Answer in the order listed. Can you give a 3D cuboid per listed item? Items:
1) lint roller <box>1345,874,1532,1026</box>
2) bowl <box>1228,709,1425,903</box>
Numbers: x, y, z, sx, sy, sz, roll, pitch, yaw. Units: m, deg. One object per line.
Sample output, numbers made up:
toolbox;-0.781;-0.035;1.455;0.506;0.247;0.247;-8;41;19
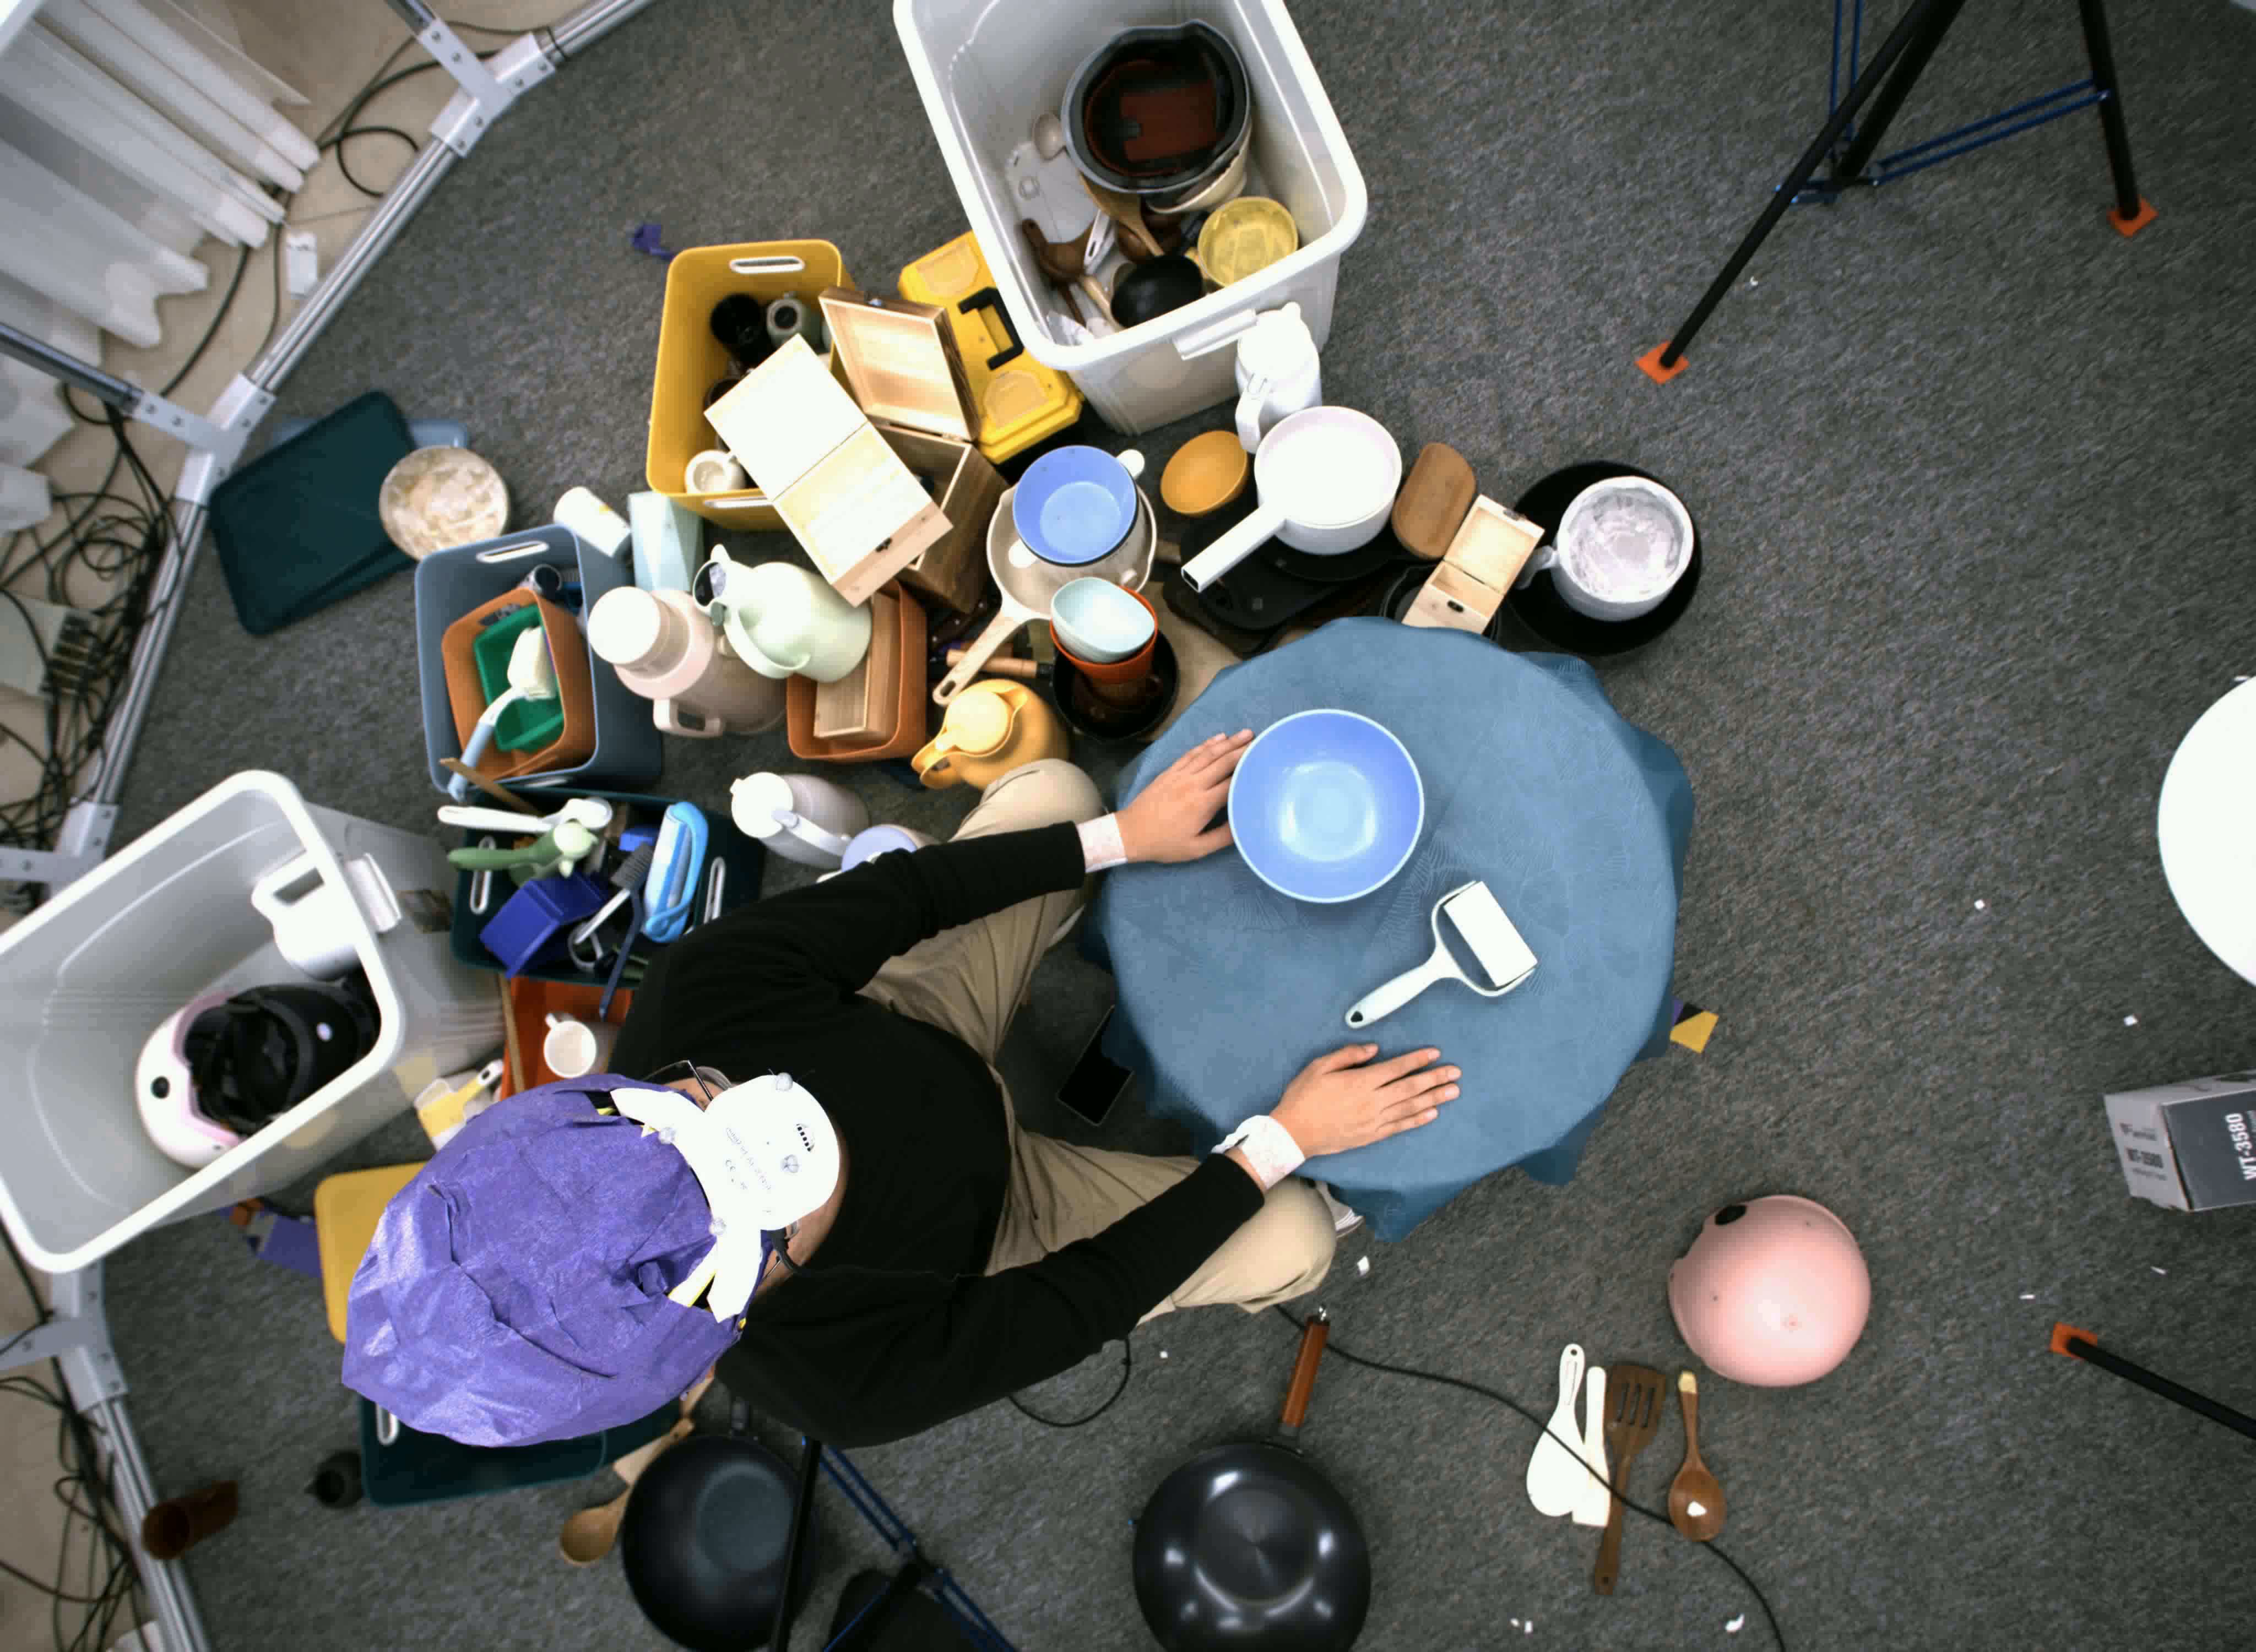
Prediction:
lint roller;0.306;0.143;1.427;0.199;0.048;0.116;-34;83;8
bowl;0.205;-0.018;1.428;0.197;0.095;0.196;-1;87;9
